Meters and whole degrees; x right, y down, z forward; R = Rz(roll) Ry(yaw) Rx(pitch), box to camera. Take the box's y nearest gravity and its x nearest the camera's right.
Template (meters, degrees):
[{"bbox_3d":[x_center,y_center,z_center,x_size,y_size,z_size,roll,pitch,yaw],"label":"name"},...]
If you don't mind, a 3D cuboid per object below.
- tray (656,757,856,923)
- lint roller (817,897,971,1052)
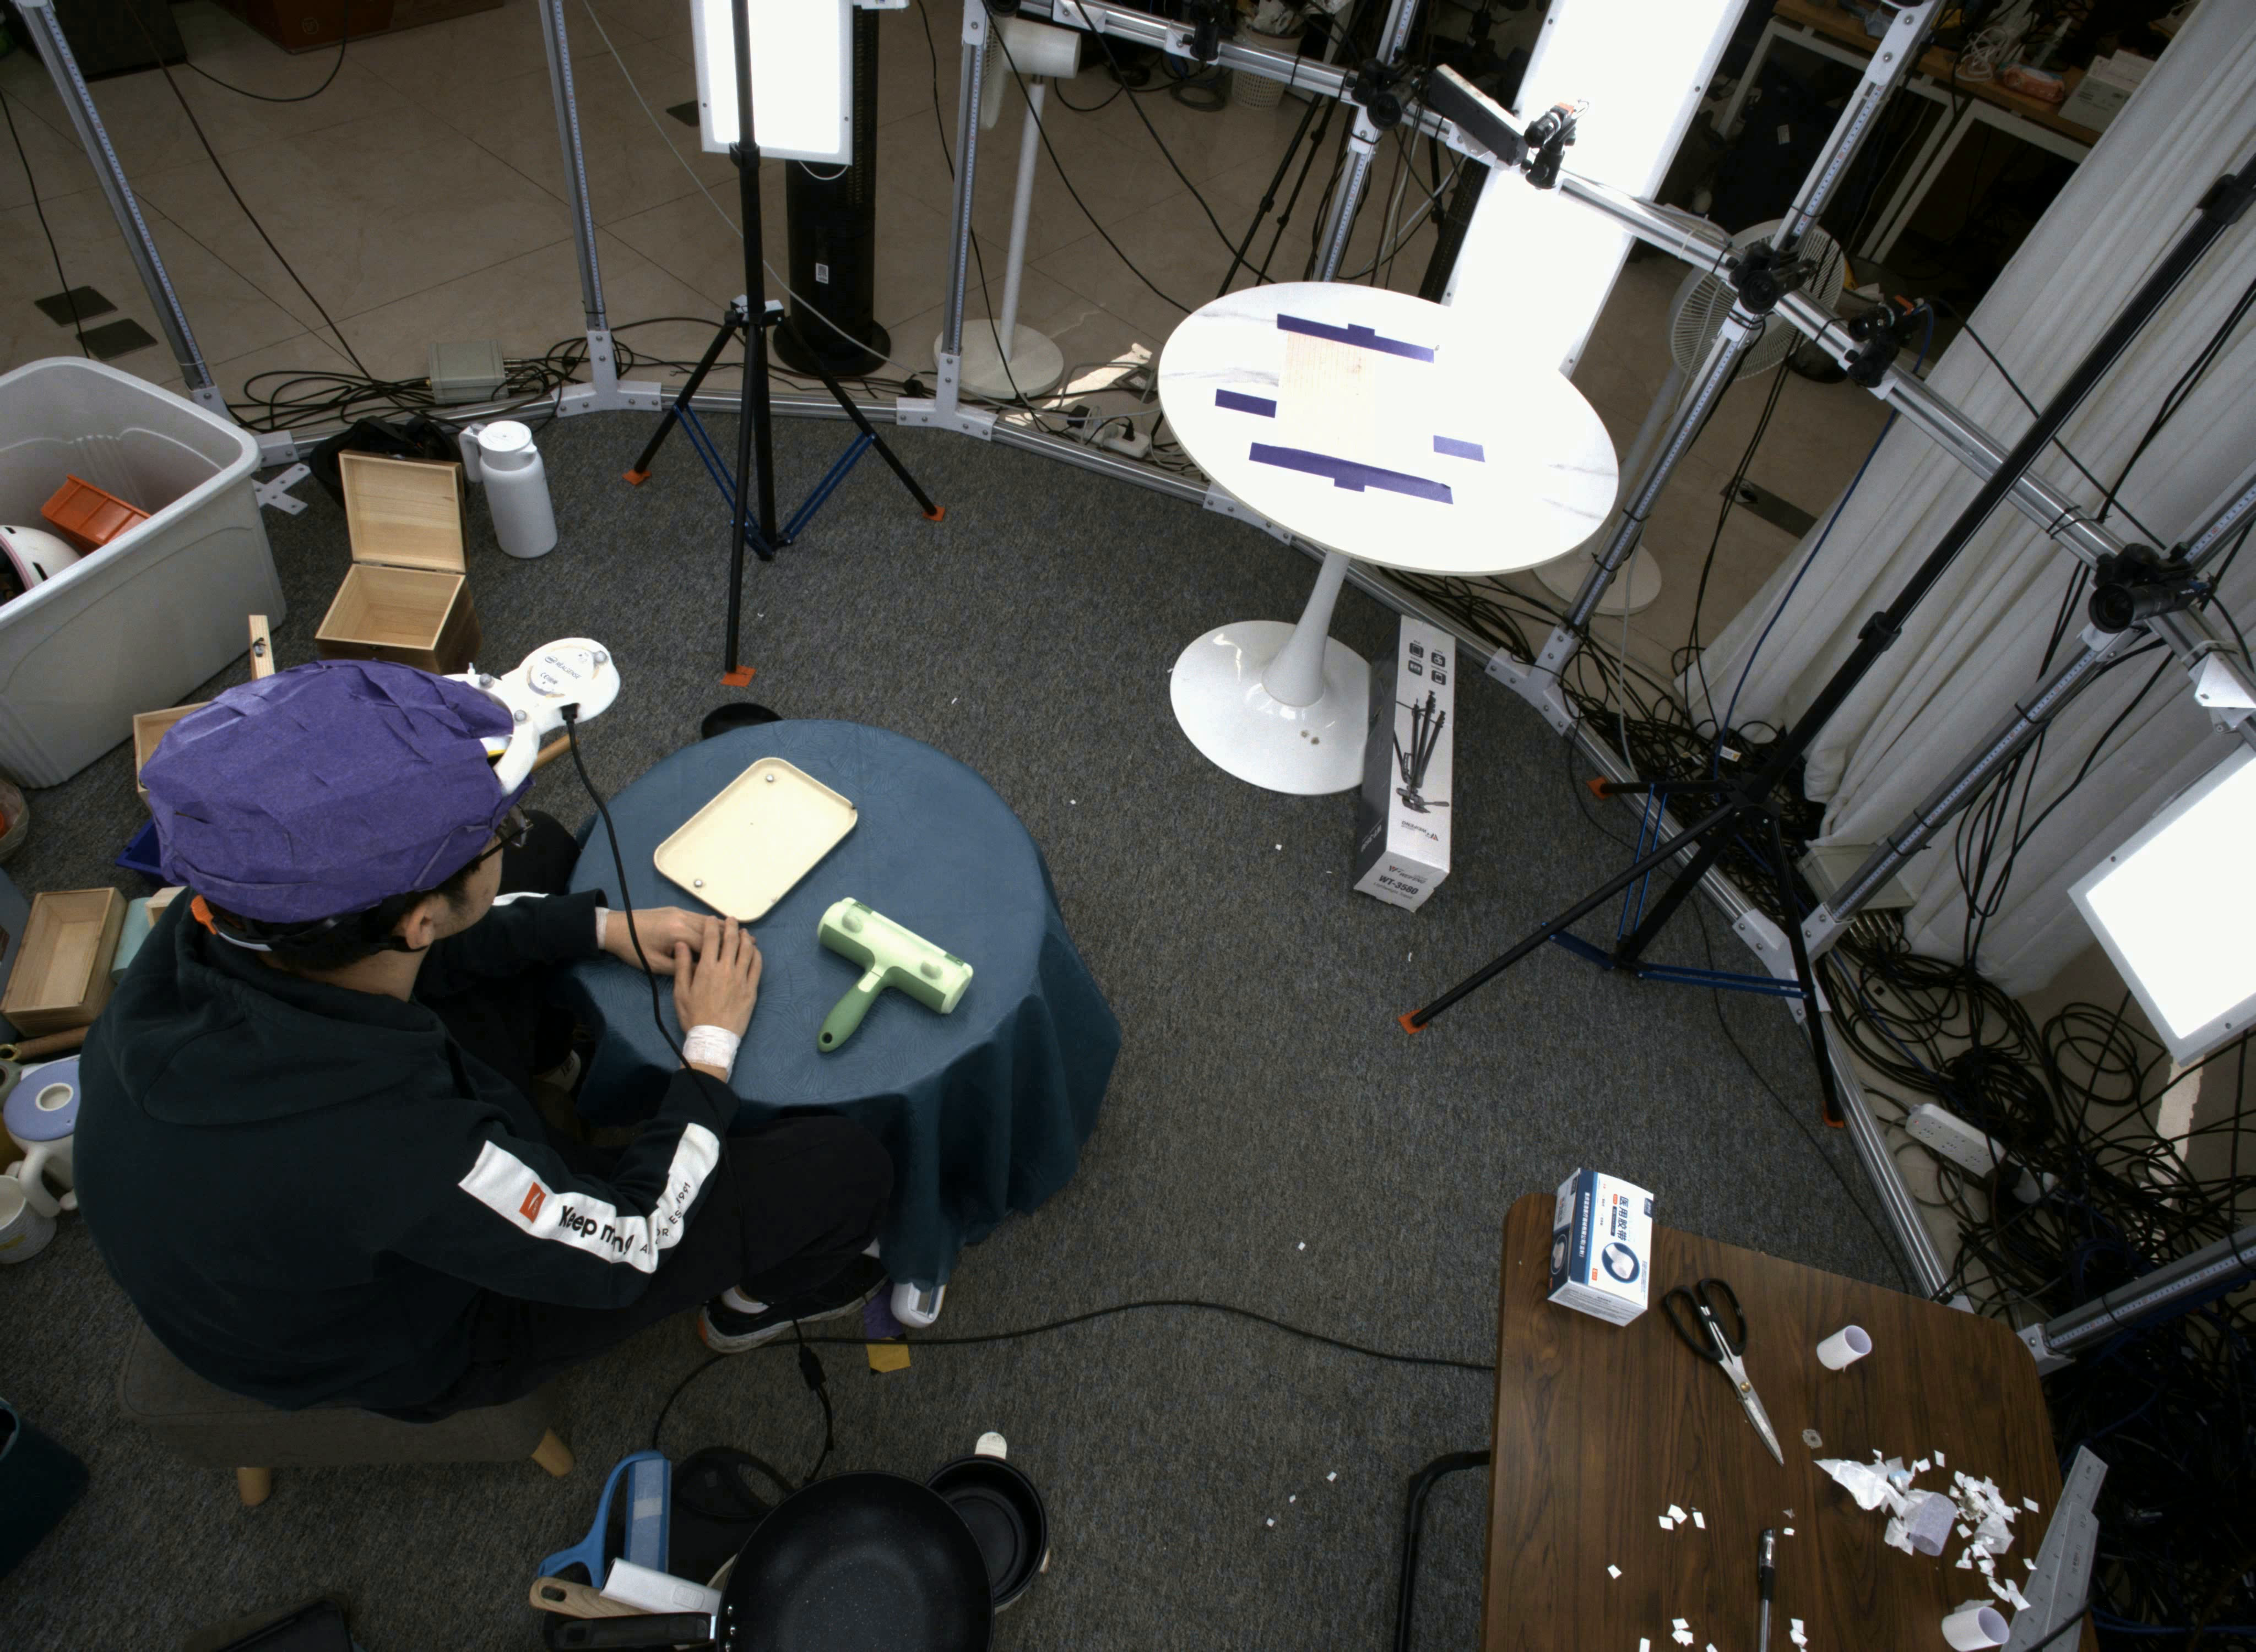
[{"bbox_3d":[-0.484,0.015,1.692,0.168,0.018,0.239,31,53,9],"label":"tray"},{"bbox_3d":[-0.316,0.187,1.571,0.195,0.084,0.182,29,48,8],"label":"lint roller"}]
